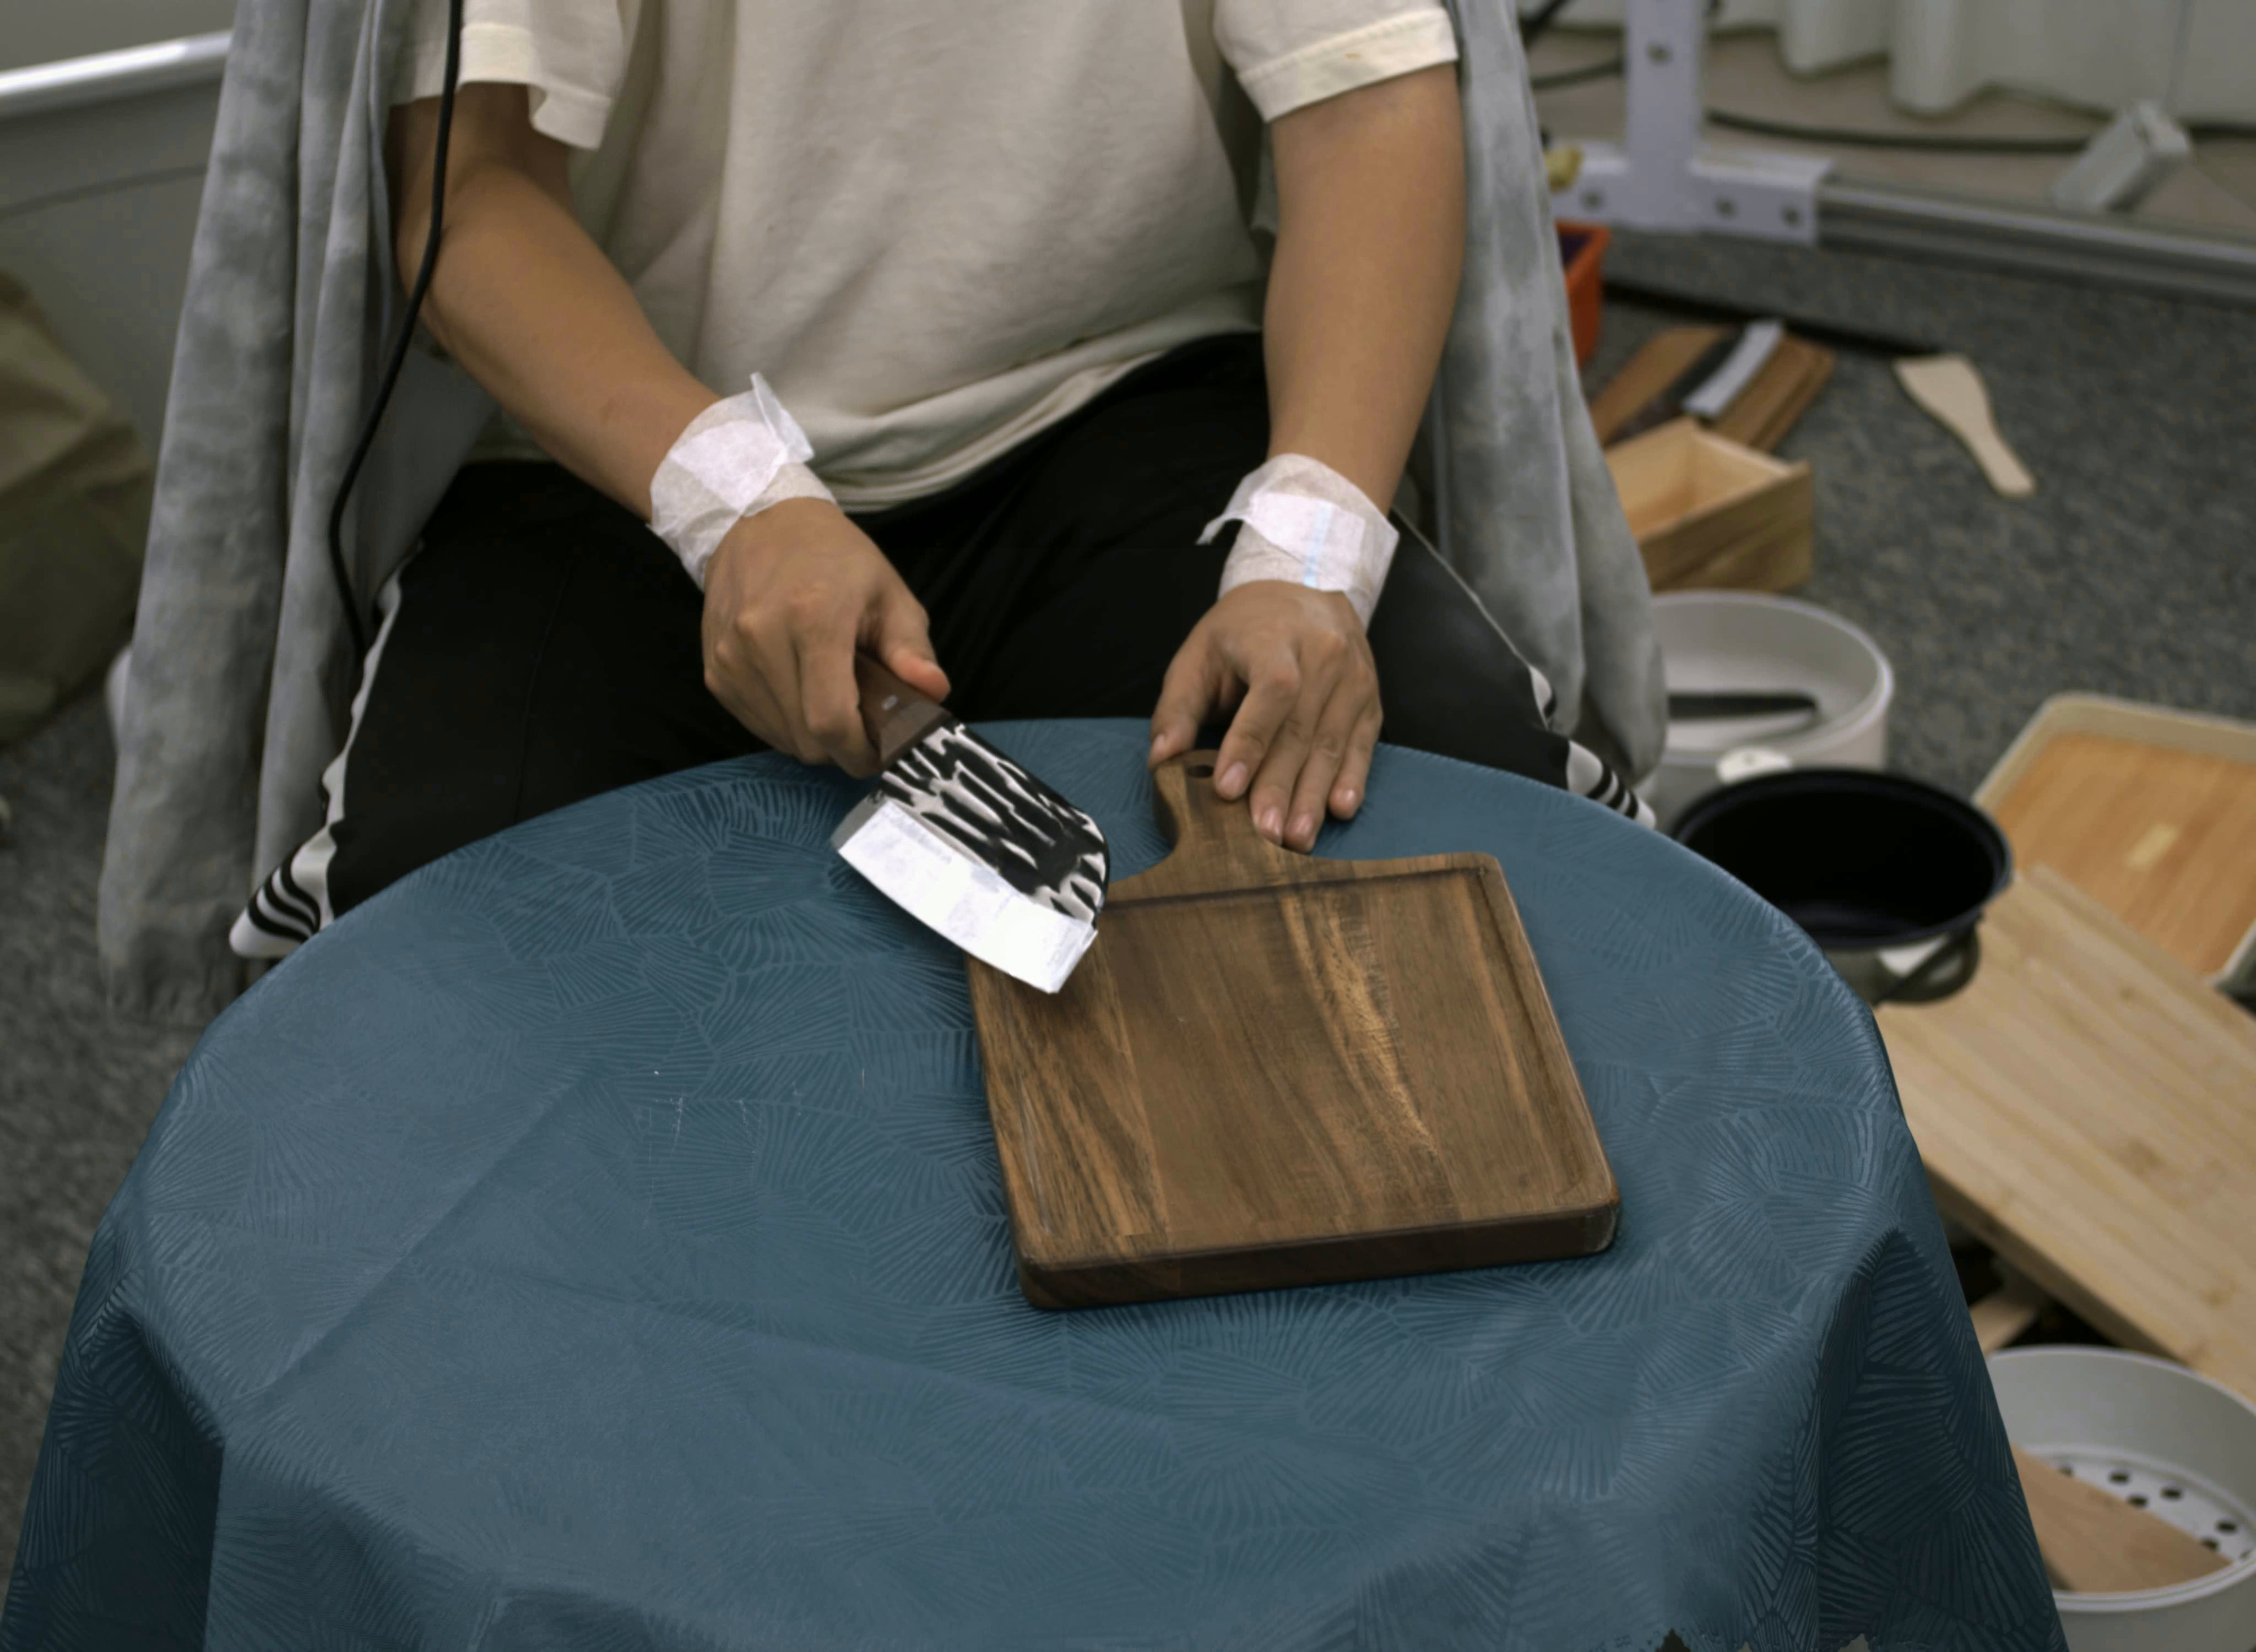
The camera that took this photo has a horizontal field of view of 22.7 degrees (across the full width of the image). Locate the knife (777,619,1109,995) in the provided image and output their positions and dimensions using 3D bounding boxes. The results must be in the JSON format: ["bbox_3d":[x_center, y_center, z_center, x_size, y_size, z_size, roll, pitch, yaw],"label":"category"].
[{"bbox_3d":[-0.075,-0.008,2.052,0.068,0.024,0.301,-44,33,-6],"label":"knife"}]

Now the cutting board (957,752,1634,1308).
[{"bbox_3d":[0.045,0.059,1.954,0.200,0.023,0.357,-5,27,-5],"label":"cutting board"}]
